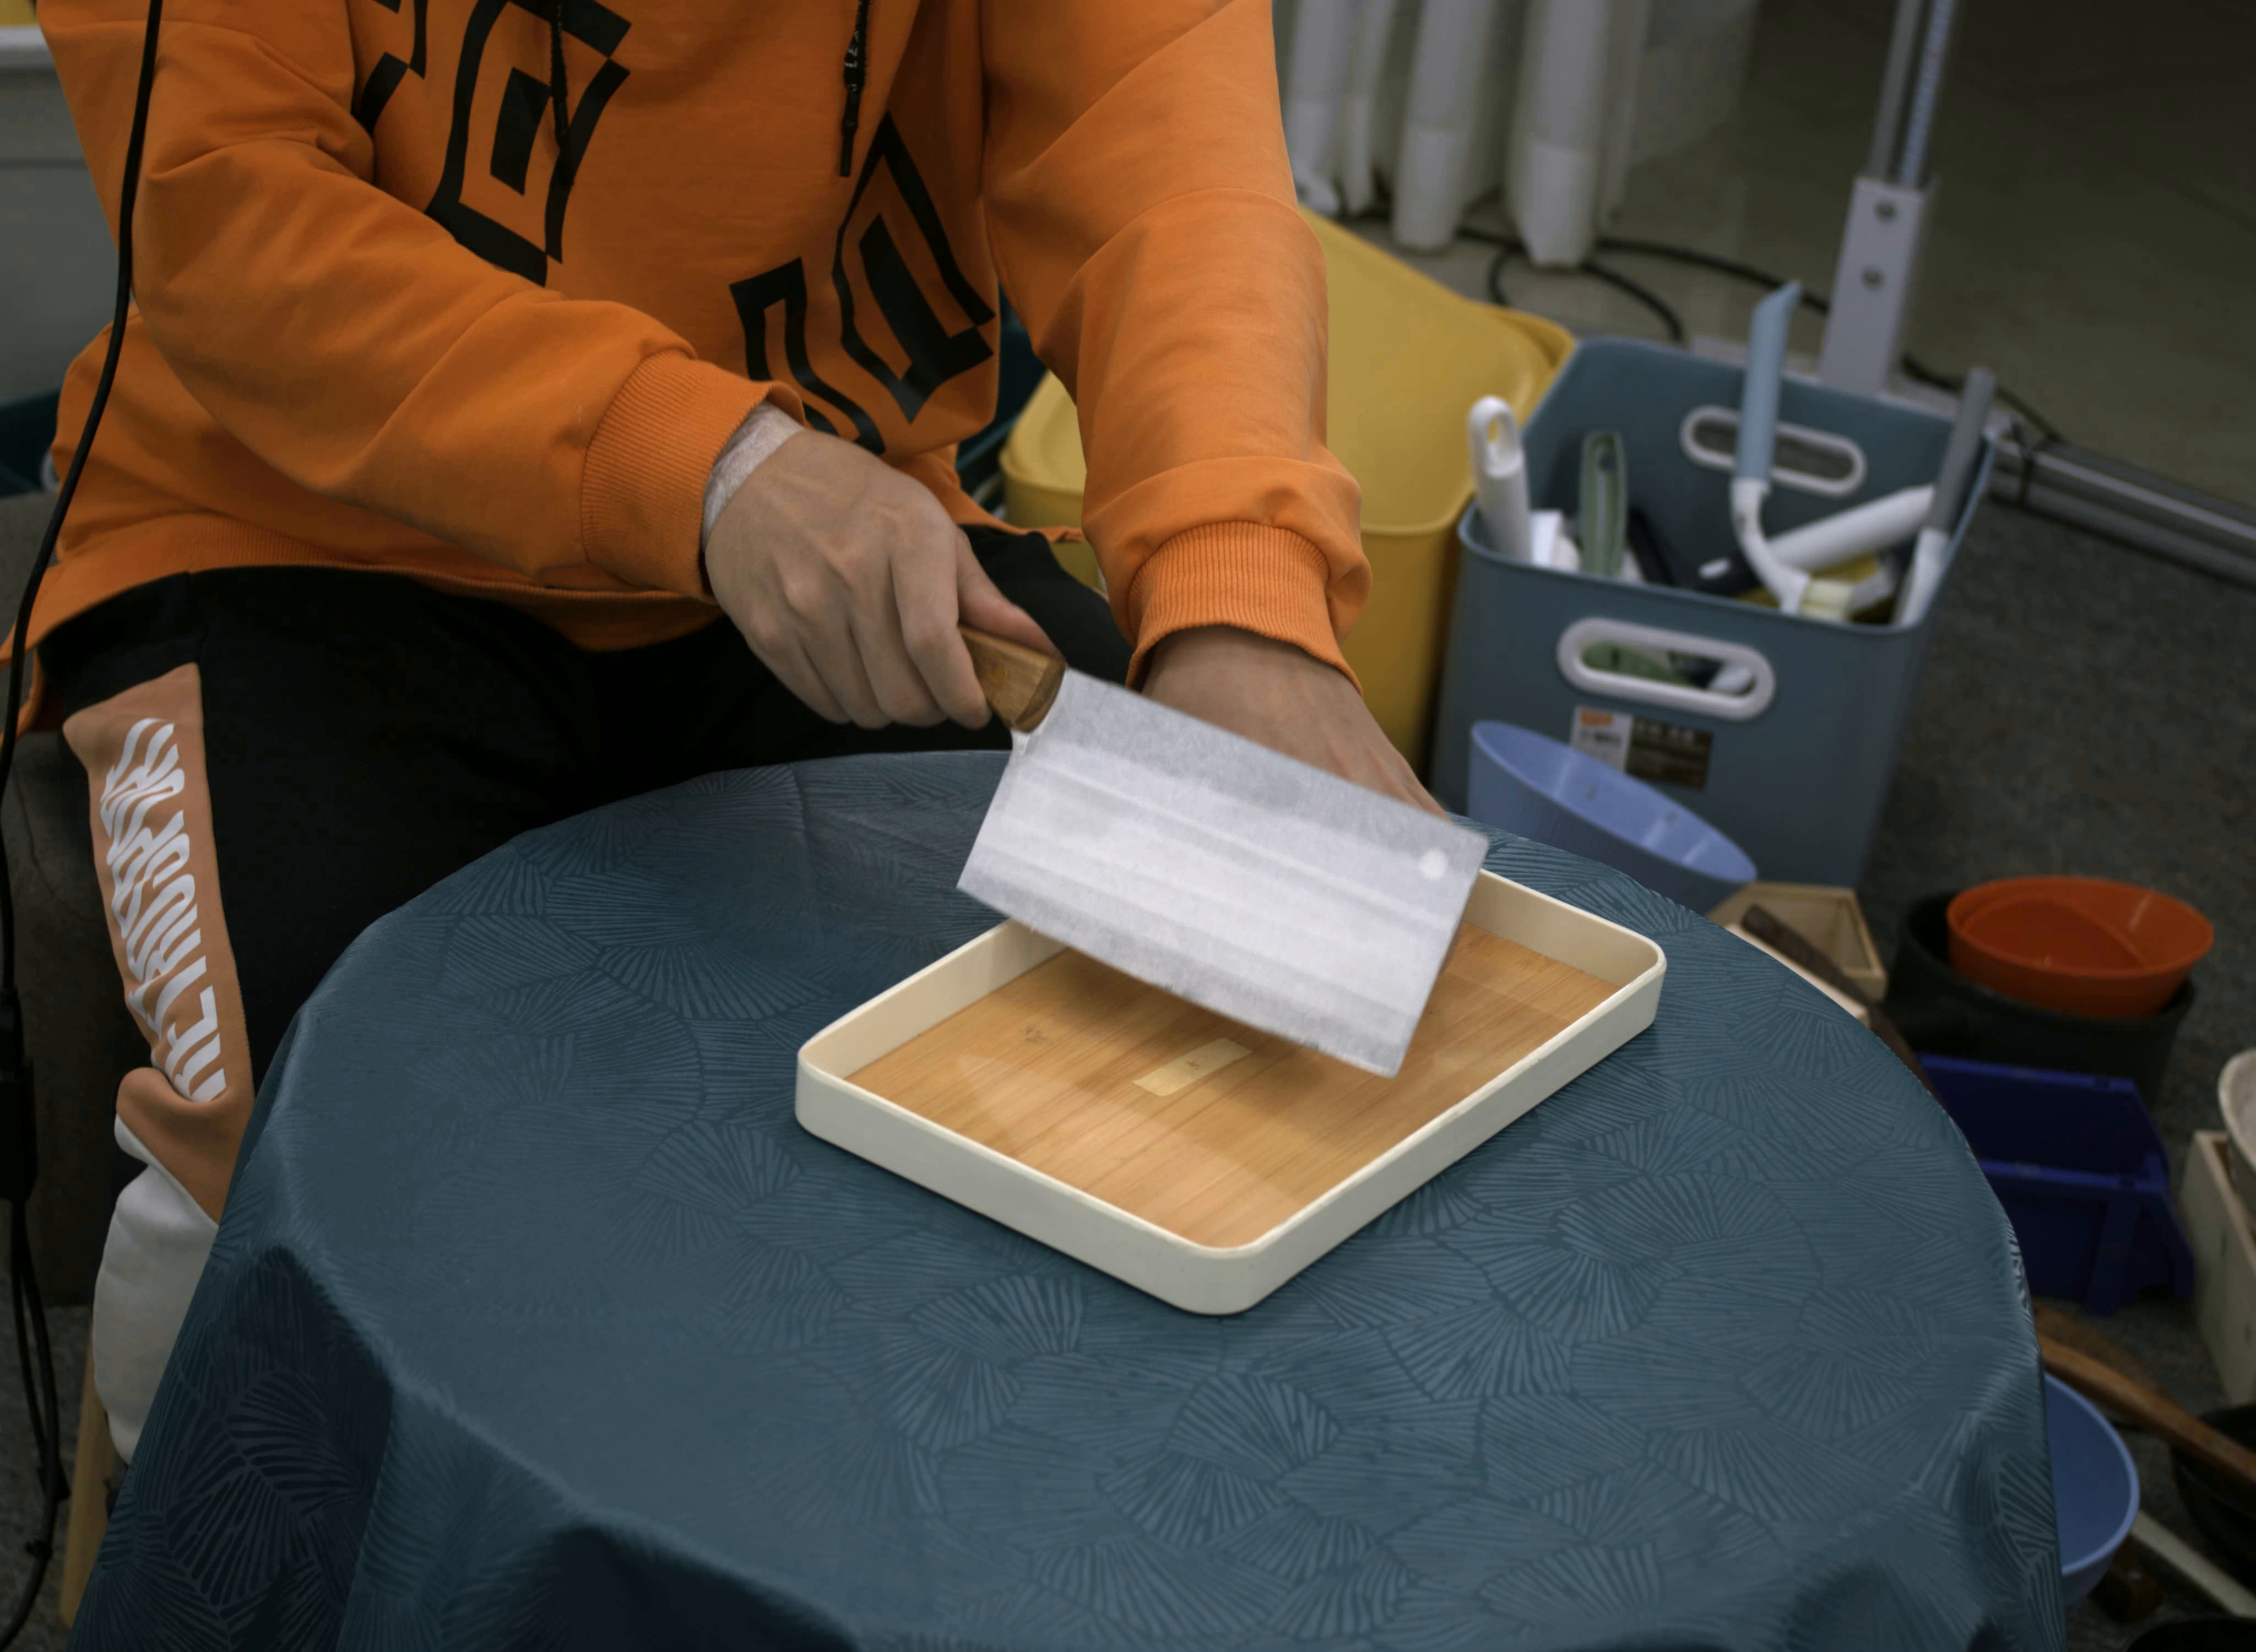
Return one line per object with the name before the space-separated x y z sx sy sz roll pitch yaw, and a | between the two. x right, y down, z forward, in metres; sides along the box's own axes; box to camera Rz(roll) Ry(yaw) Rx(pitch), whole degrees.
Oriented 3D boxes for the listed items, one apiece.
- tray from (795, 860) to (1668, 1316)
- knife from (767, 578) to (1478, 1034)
tray | 0.041 0.073 1.880 0.193 0.027 0.299 23 32 29
knife | -0.015 -0.005 1.887 0.307 0.093 0.021 23 2 30
